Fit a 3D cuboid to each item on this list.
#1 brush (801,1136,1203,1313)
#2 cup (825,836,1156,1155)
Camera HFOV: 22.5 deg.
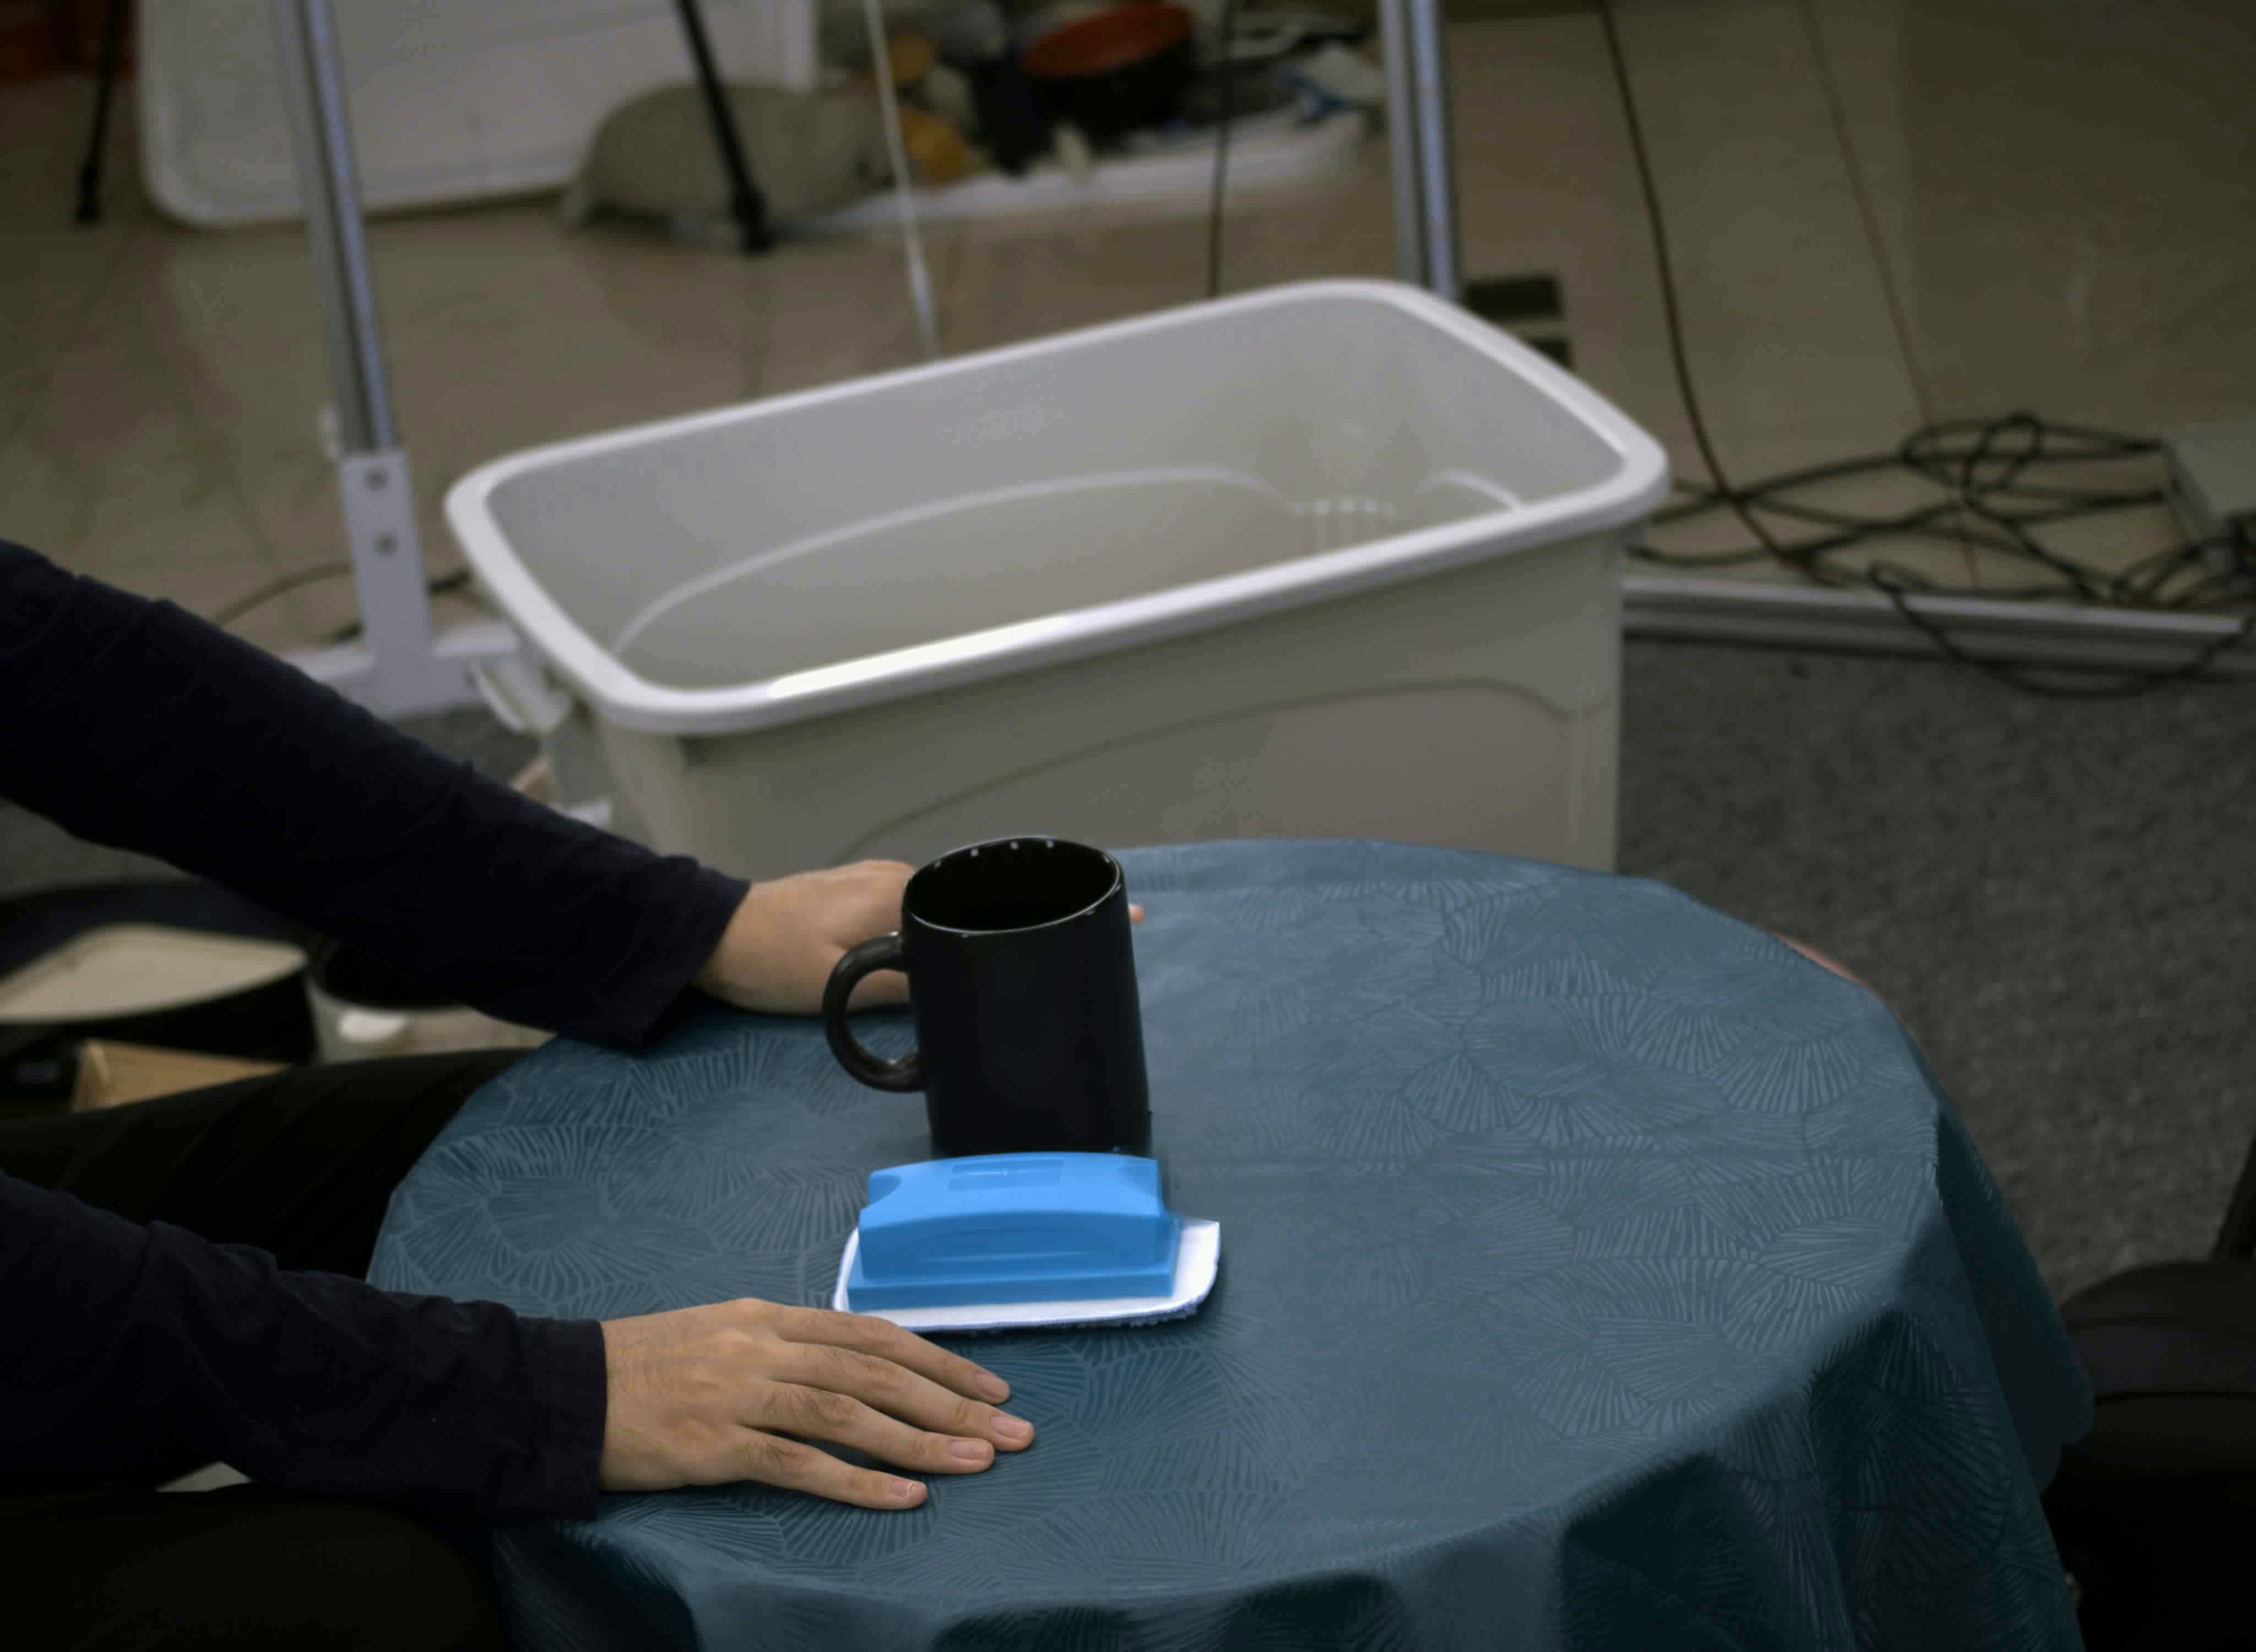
[{"bbox_3d":[-0.046,0.144,2.075,0.143,0.057,0.083,0,23,7],"label":"brush"},{"bbox_3d":[-0.056,0.071,2.187,0.123,0.107,0.087,-8,27,4],"label":"cup"}]
